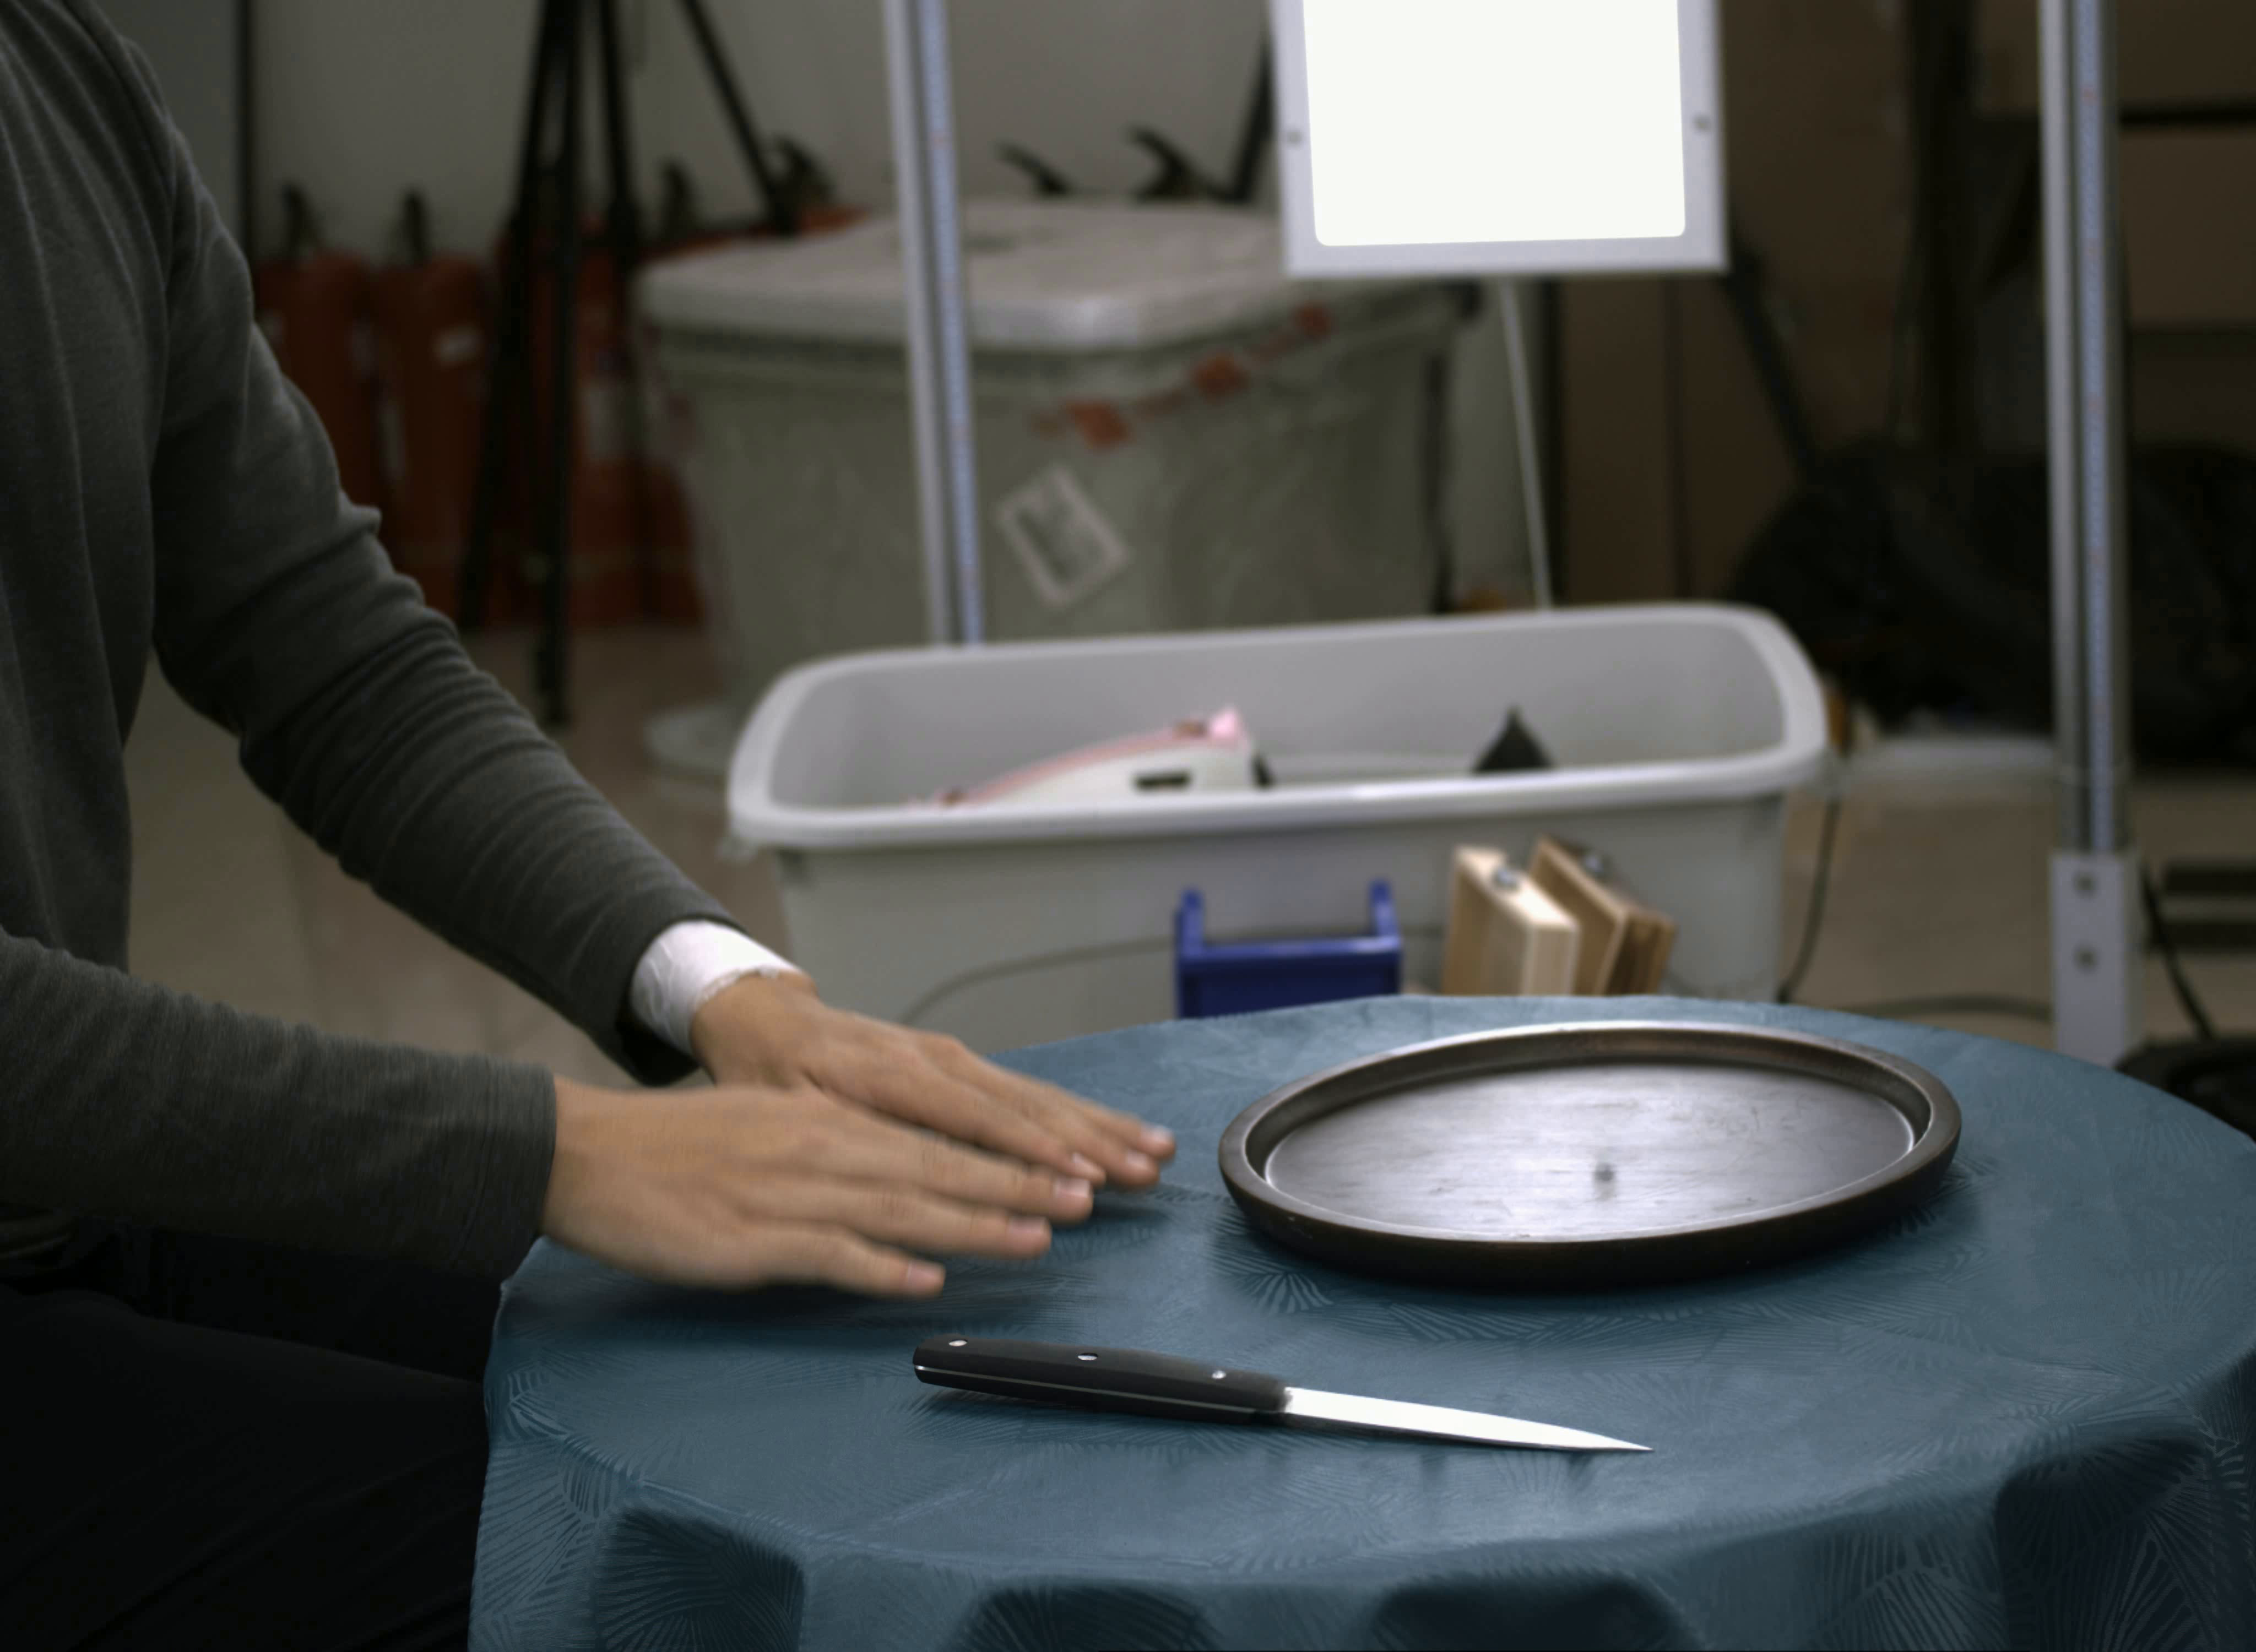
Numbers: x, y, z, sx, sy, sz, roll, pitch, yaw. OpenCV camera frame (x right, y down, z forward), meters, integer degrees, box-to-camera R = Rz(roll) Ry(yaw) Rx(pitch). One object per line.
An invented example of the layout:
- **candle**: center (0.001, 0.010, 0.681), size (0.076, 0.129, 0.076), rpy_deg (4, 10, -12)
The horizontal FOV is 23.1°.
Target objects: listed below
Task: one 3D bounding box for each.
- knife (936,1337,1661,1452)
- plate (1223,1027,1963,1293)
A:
- **knife**: center (0.048, 0.175, 1.664), size (0.242, 0.016, 0.024), rpy_deg (4, 16, 25)
- **plate**: center (0.158, 0.111, 1.862), size (0.254, 0.029, 0.254), rpy_deg (-4, 13, 0)
